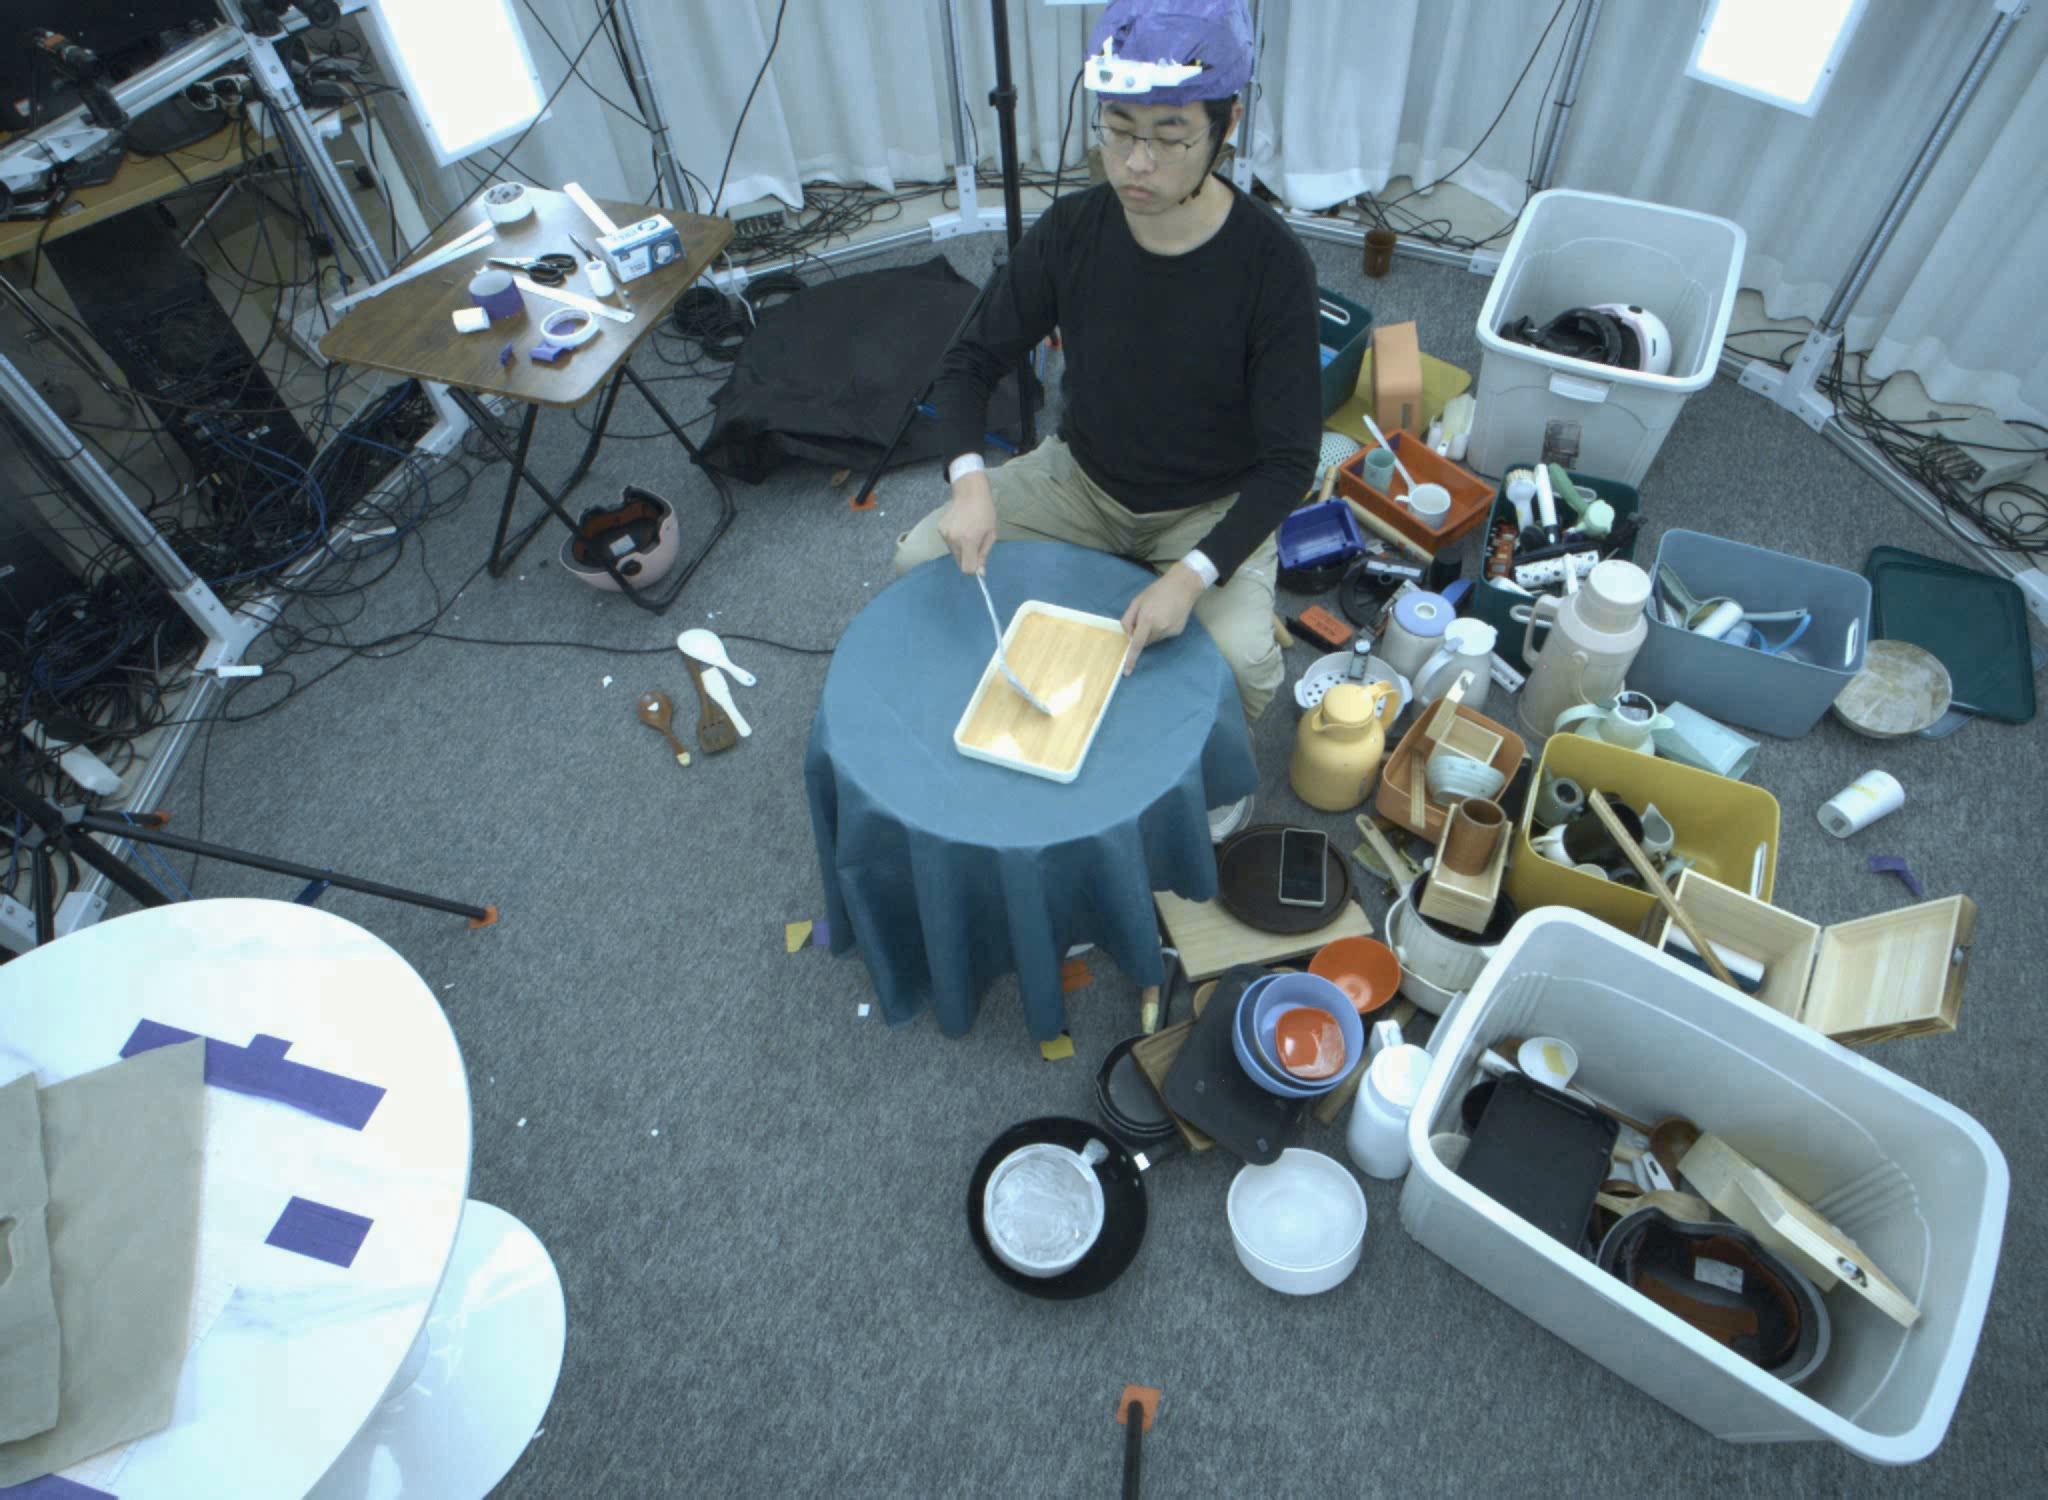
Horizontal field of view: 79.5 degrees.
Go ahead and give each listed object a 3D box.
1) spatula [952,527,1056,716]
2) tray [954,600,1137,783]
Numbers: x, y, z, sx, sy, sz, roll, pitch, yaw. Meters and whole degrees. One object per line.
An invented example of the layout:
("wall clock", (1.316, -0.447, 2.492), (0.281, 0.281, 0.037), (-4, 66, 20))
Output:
("spatula", (-0.042, -0.204, 1.837), (0.044, 0.100, 0.360), (-26, 69, 15))
("tray", (0.036, -0.094, 1.836), (0.189, 0.028, 0.300), (17, 57, 13))
